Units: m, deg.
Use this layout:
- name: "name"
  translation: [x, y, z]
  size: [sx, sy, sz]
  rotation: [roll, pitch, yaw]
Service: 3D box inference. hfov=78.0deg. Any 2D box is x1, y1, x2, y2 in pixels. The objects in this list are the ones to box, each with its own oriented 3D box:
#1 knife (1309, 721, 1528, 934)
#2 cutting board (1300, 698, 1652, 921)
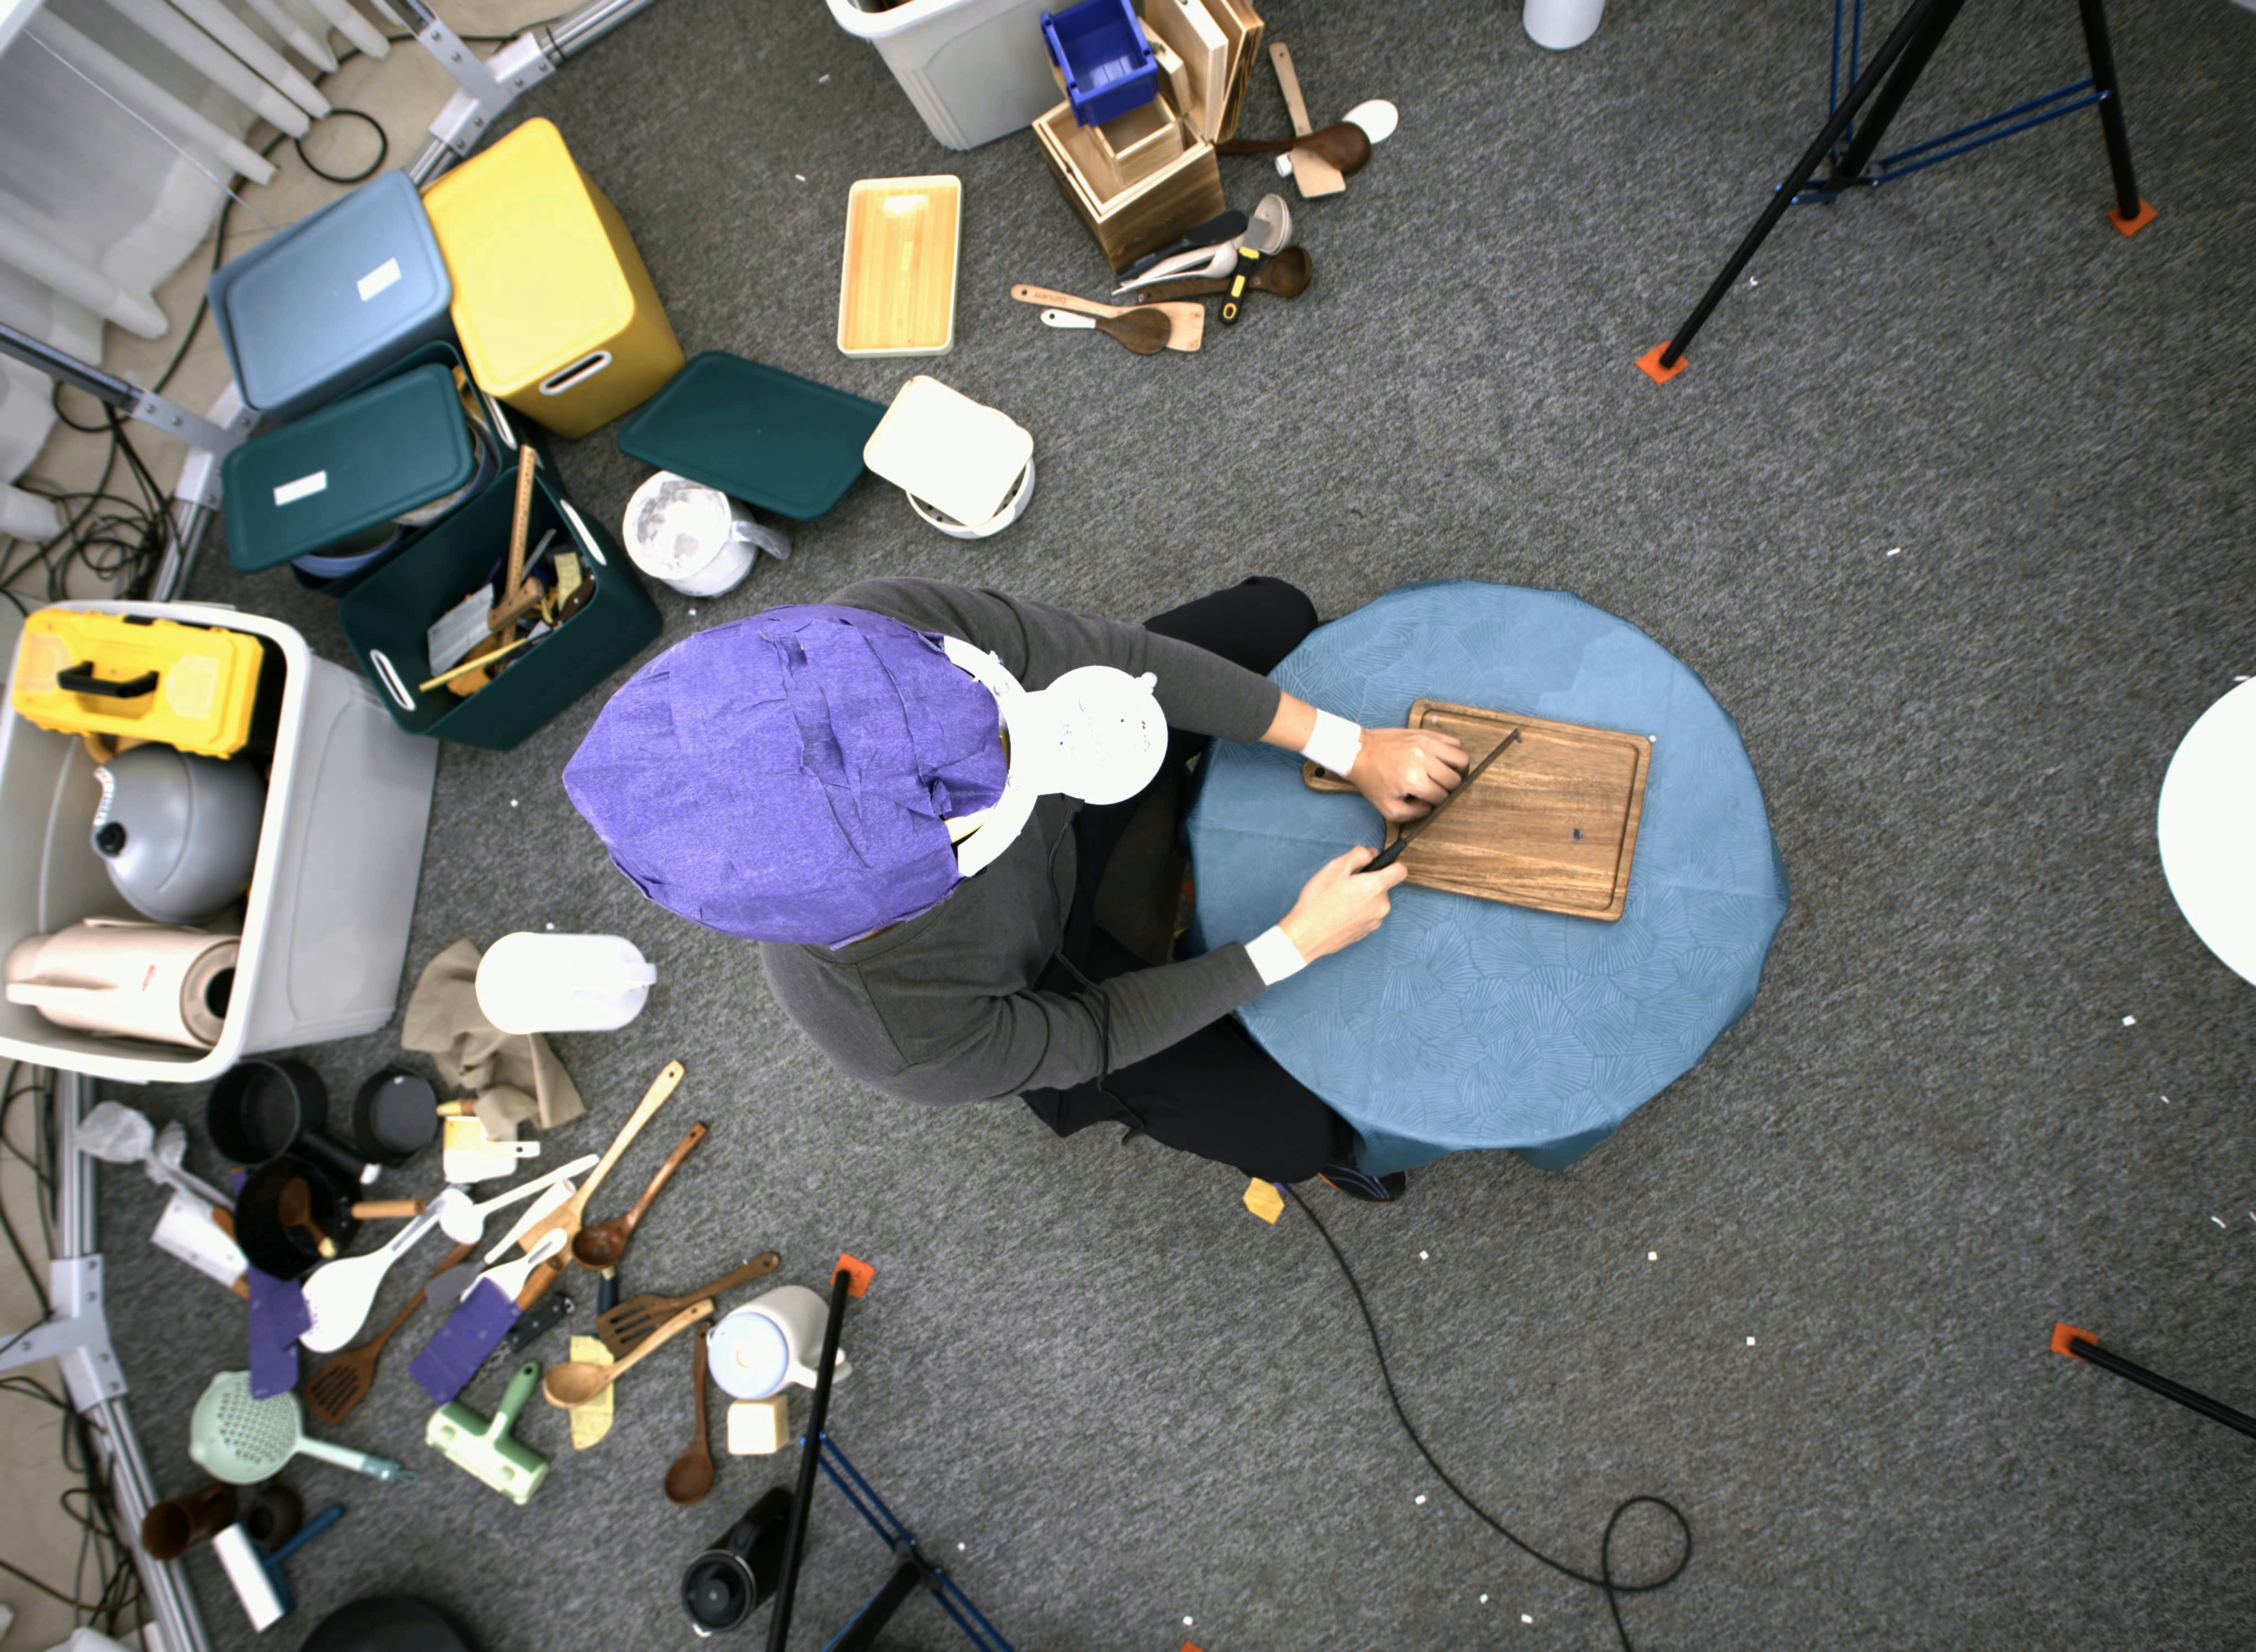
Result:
- name: "knife"
  translation: [0.296, 0.000, 1.399]
  size: [0.304, 0.081, 0.021]
  rotation: [-45, 76, 9]
- name: "cutting board"
  translation: [0.355, -0.030, 1.439]
  size: [0.353, 0.023, 0.200]
  rotation: [10, 88, 11]
